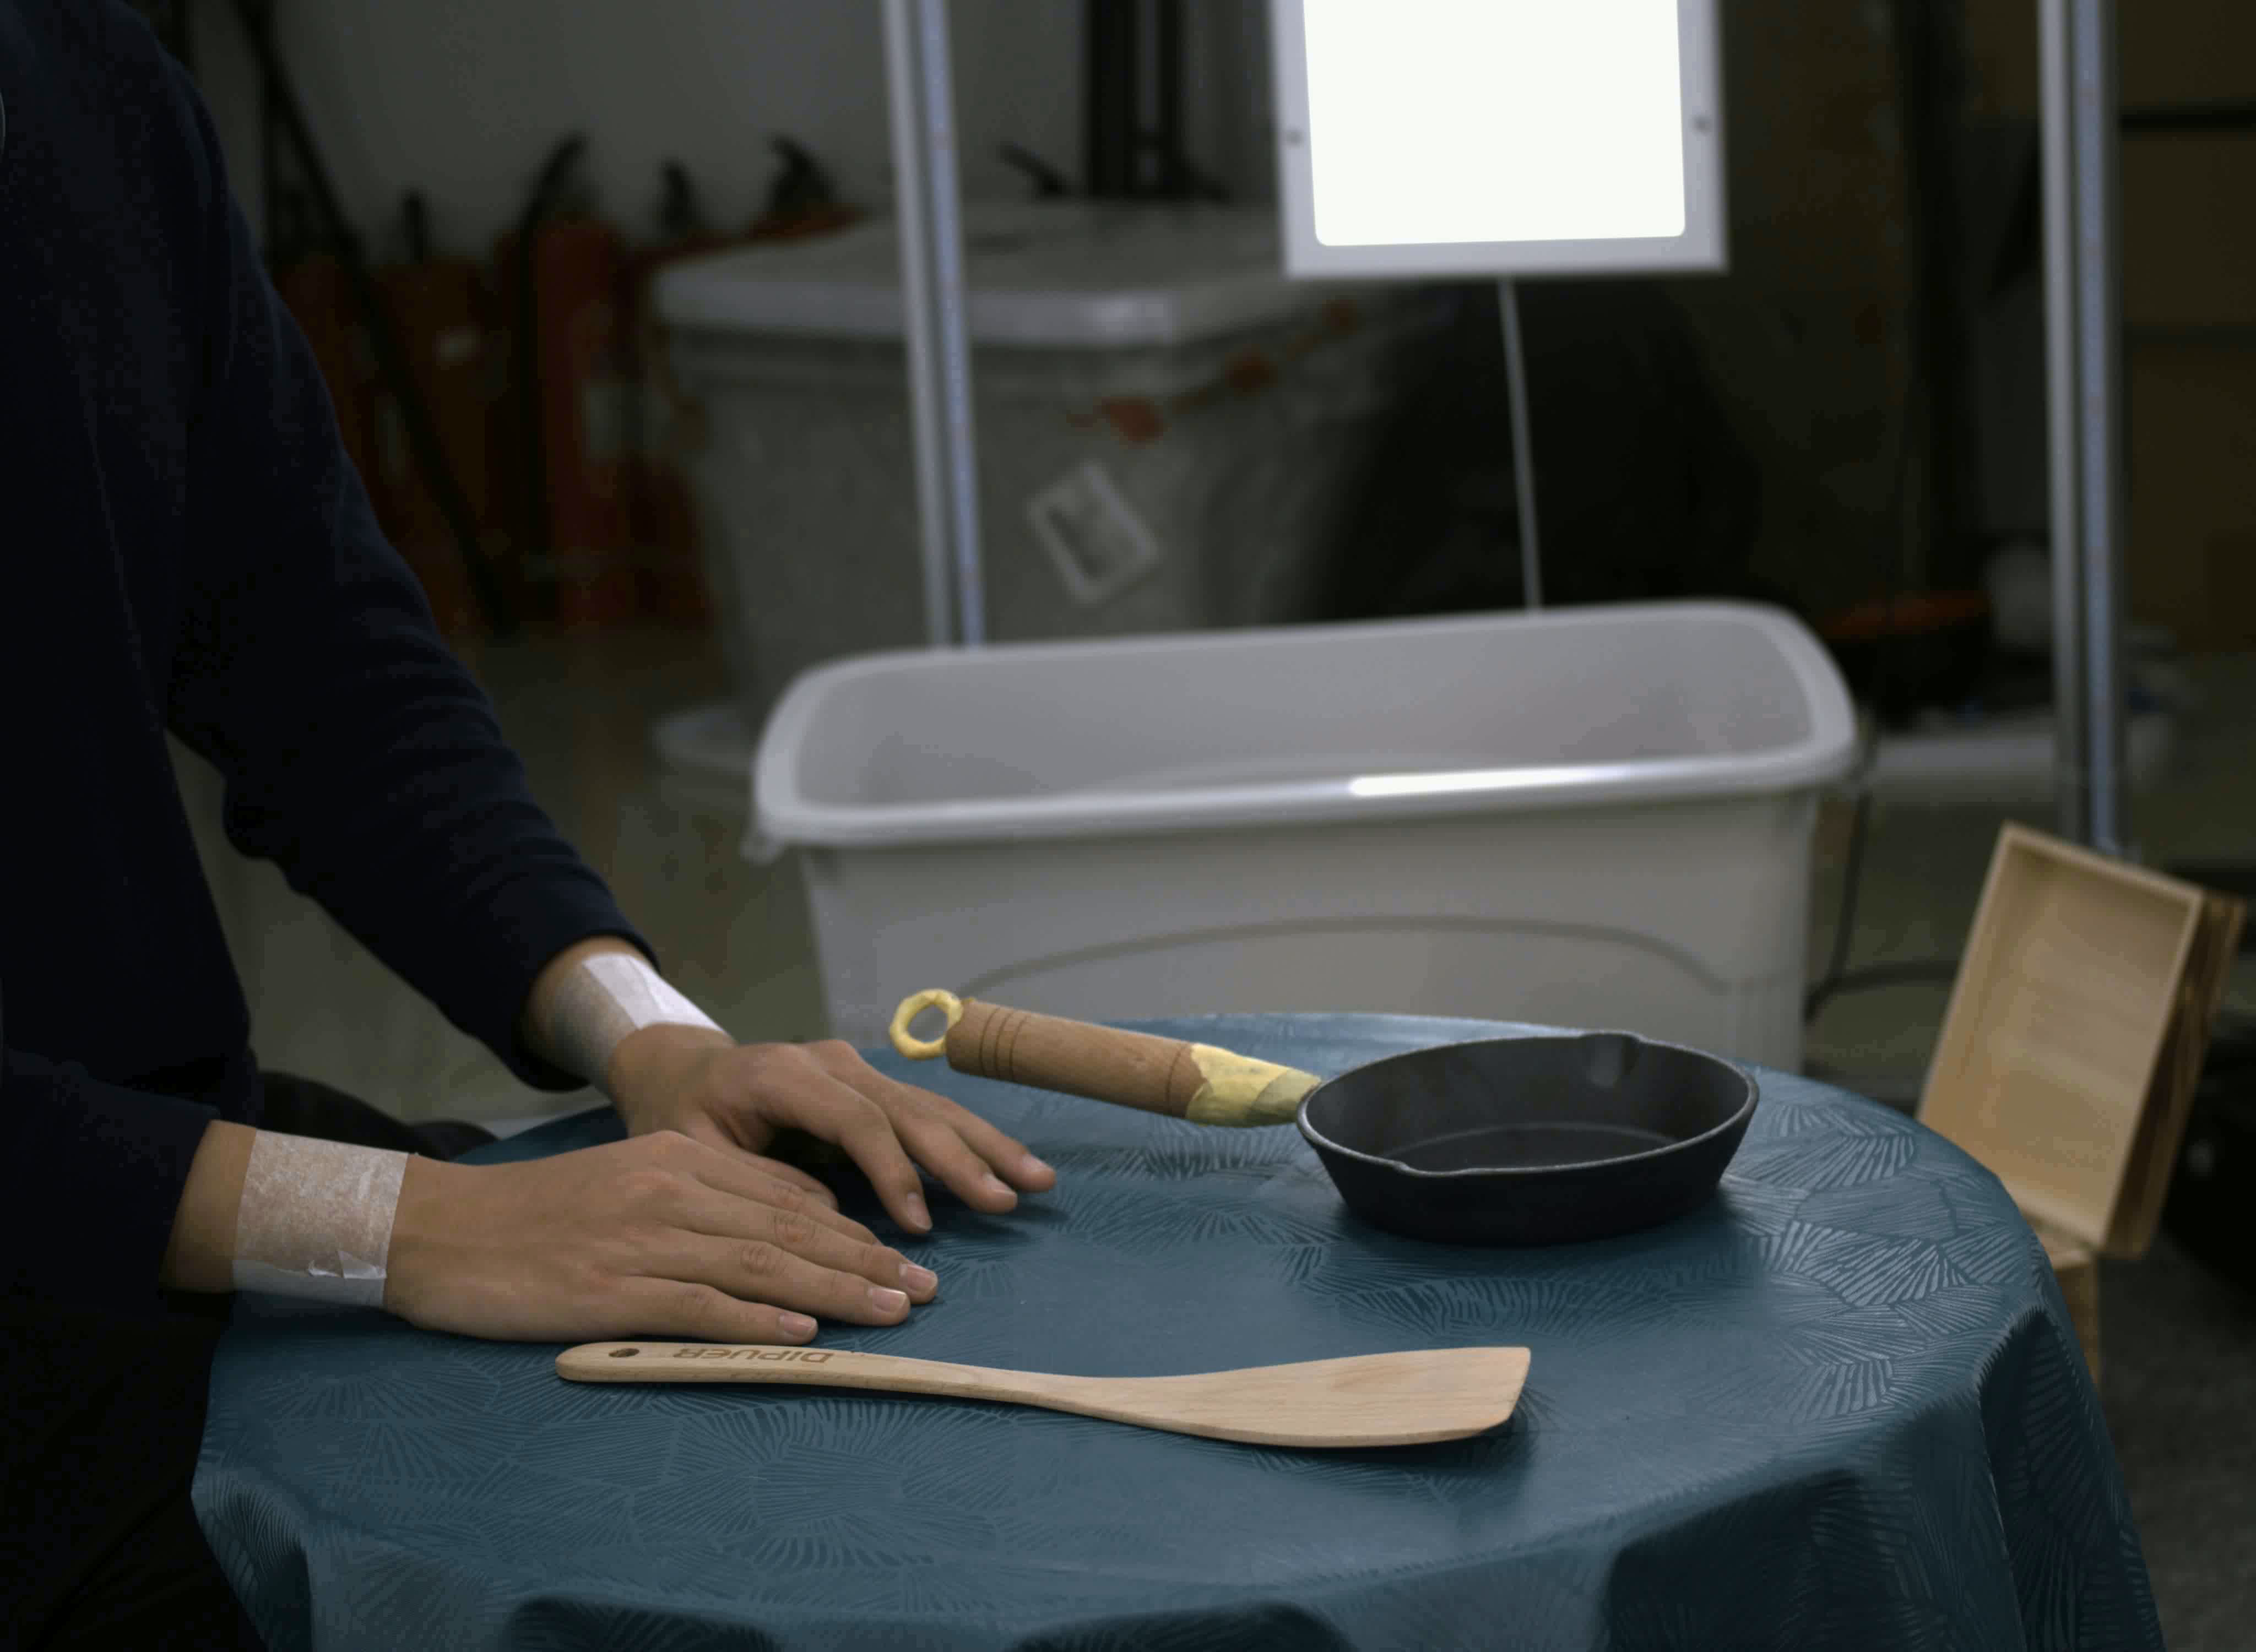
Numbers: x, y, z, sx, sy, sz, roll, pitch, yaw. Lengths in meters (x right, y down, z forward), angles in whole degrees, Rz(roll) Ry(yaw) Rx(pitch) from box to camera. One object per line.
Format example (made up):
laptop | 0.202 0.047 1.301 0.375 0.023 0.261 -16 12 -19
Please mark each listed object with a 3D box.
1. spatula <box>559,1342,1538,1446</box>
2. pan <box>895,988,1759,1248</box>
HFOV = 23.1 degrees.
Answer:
spatula | -0.027 0.169 1.700 0.332 0.016 0.078 1 14 23
pan | 0.062 0.094 1.899 0.330 0.050 0.165 5 17 31
